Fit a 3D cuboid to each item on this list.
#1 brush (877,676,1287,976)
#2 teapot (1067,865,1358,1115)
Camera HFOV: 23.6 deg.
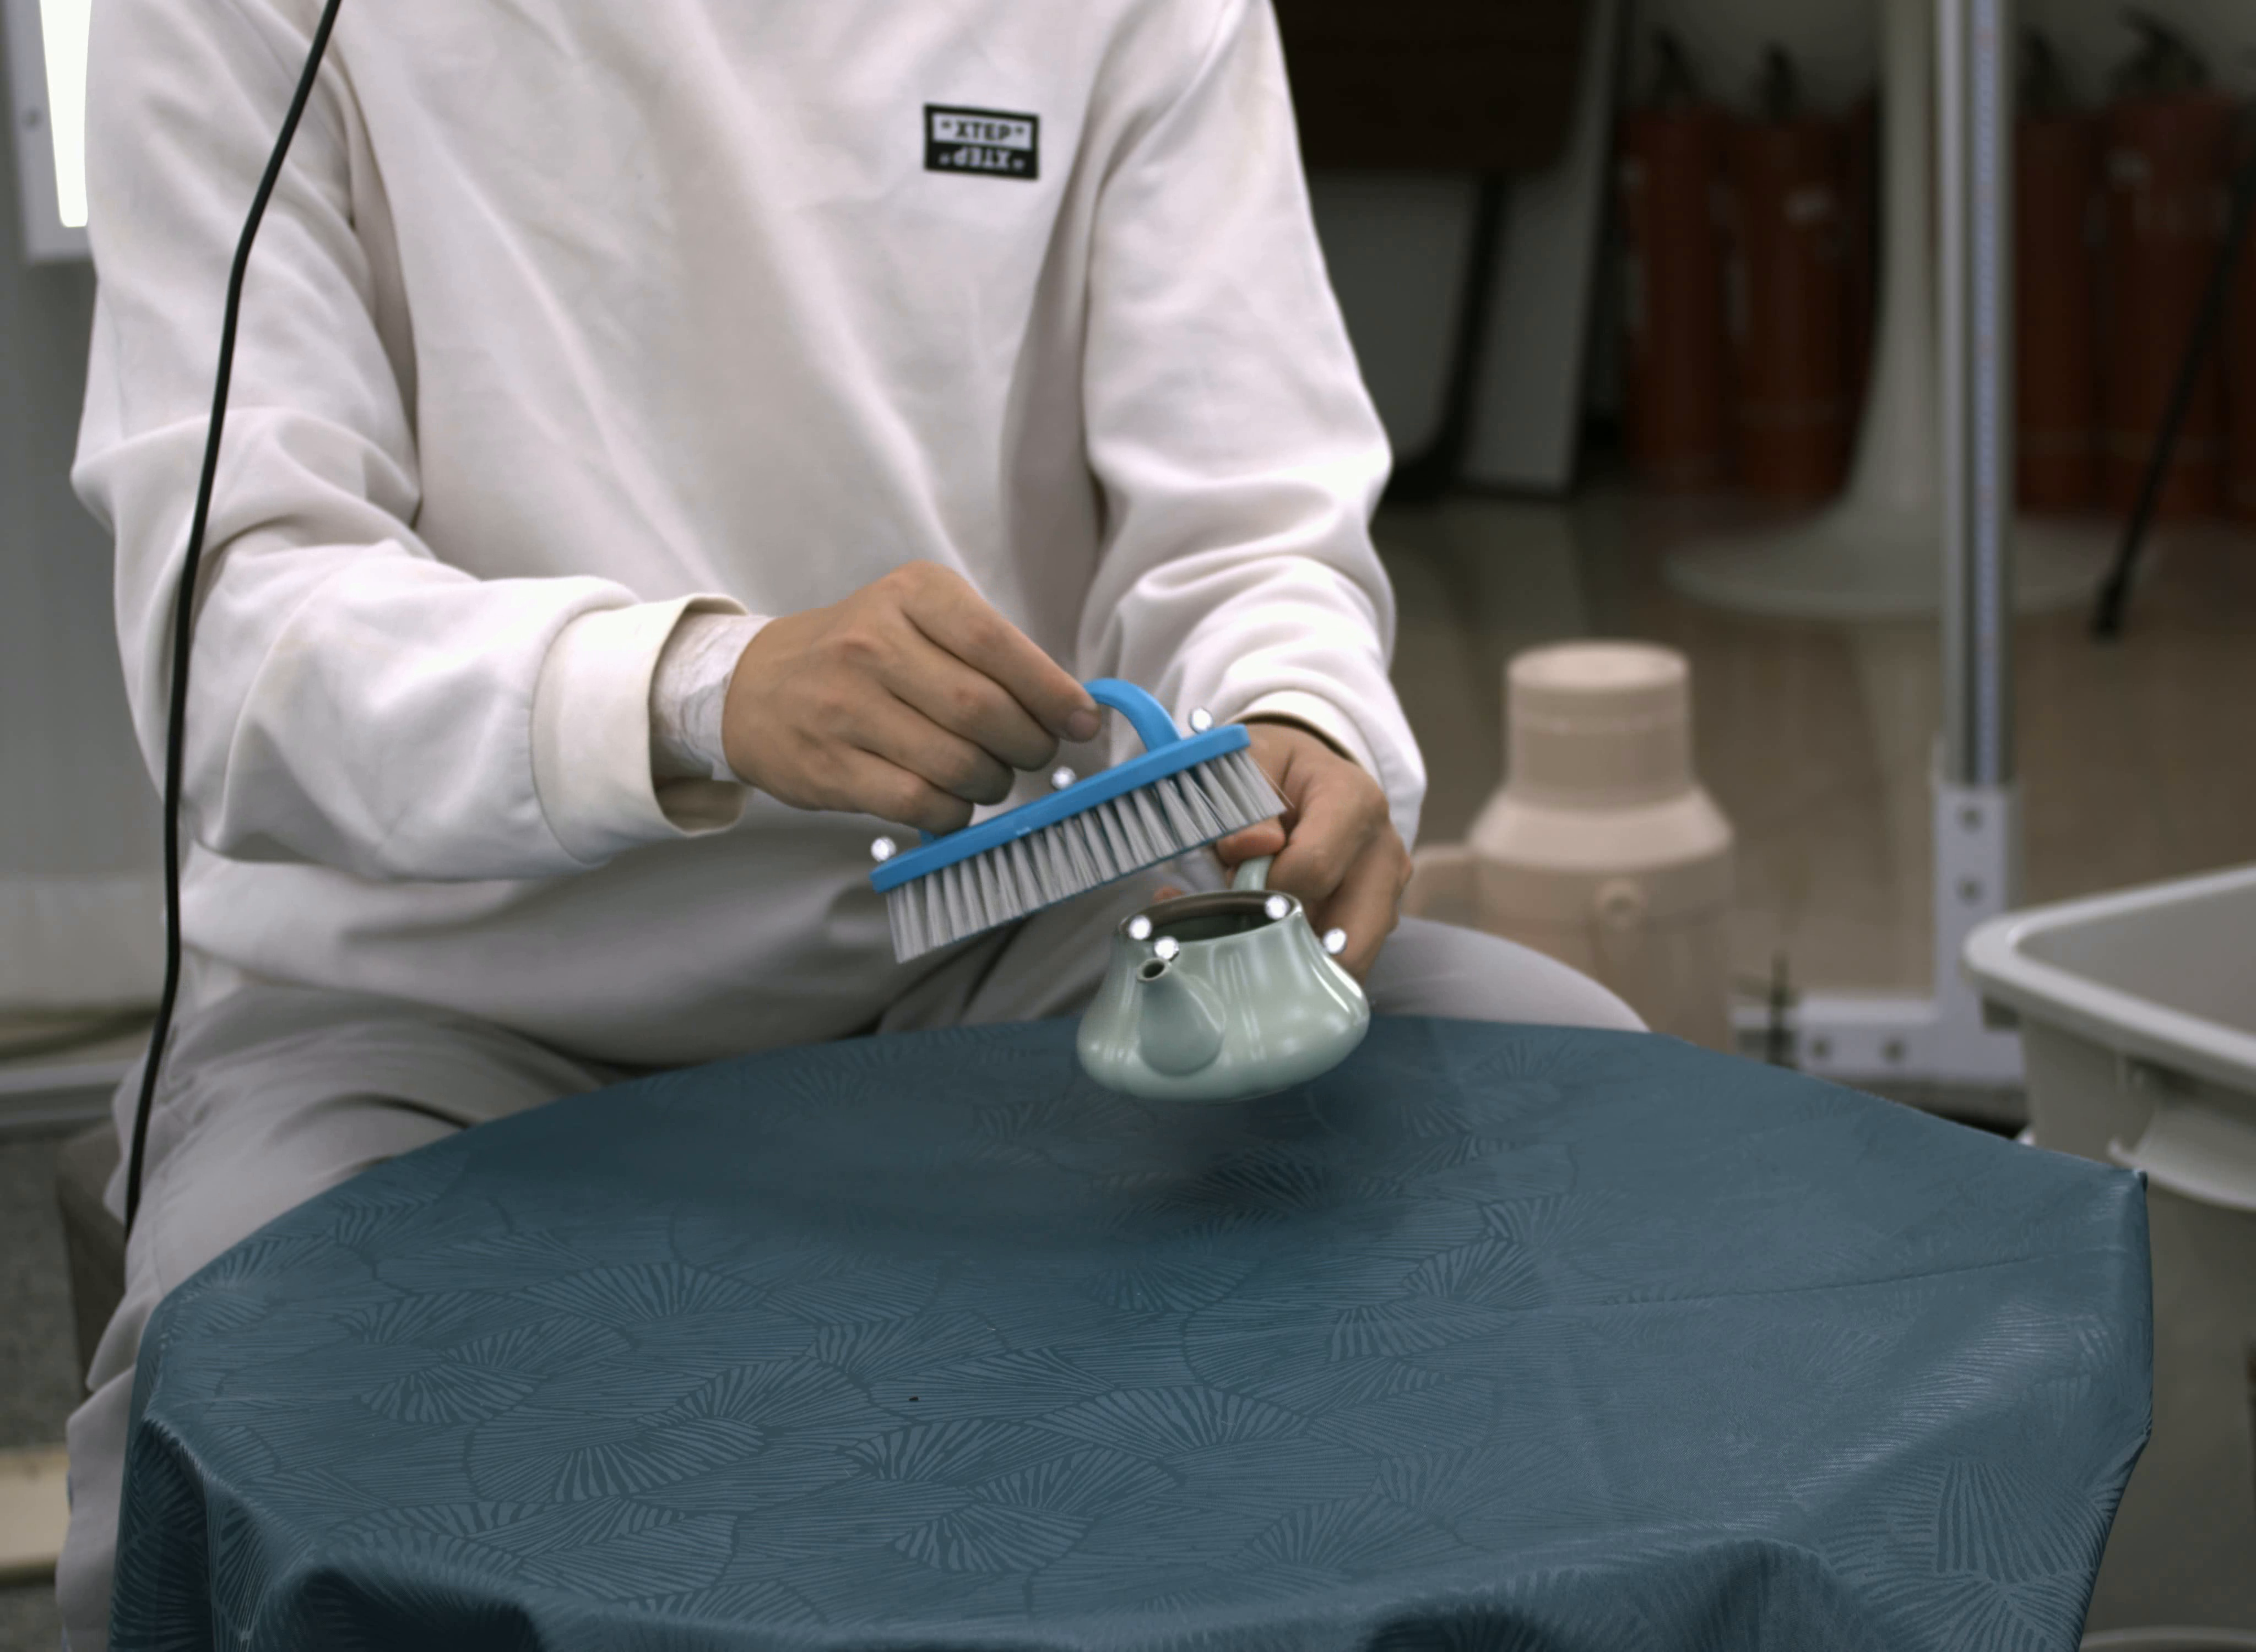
[{"bbox_3d":[-0.022,-0.007,1.746,0.142,0.064,0.083,-25,2,21],"label":"brush"},{"bbox_3d":[0.026,0.056,1.753,0.096,0.062,0.136,-8,12,19],"label":"teapot"}]
